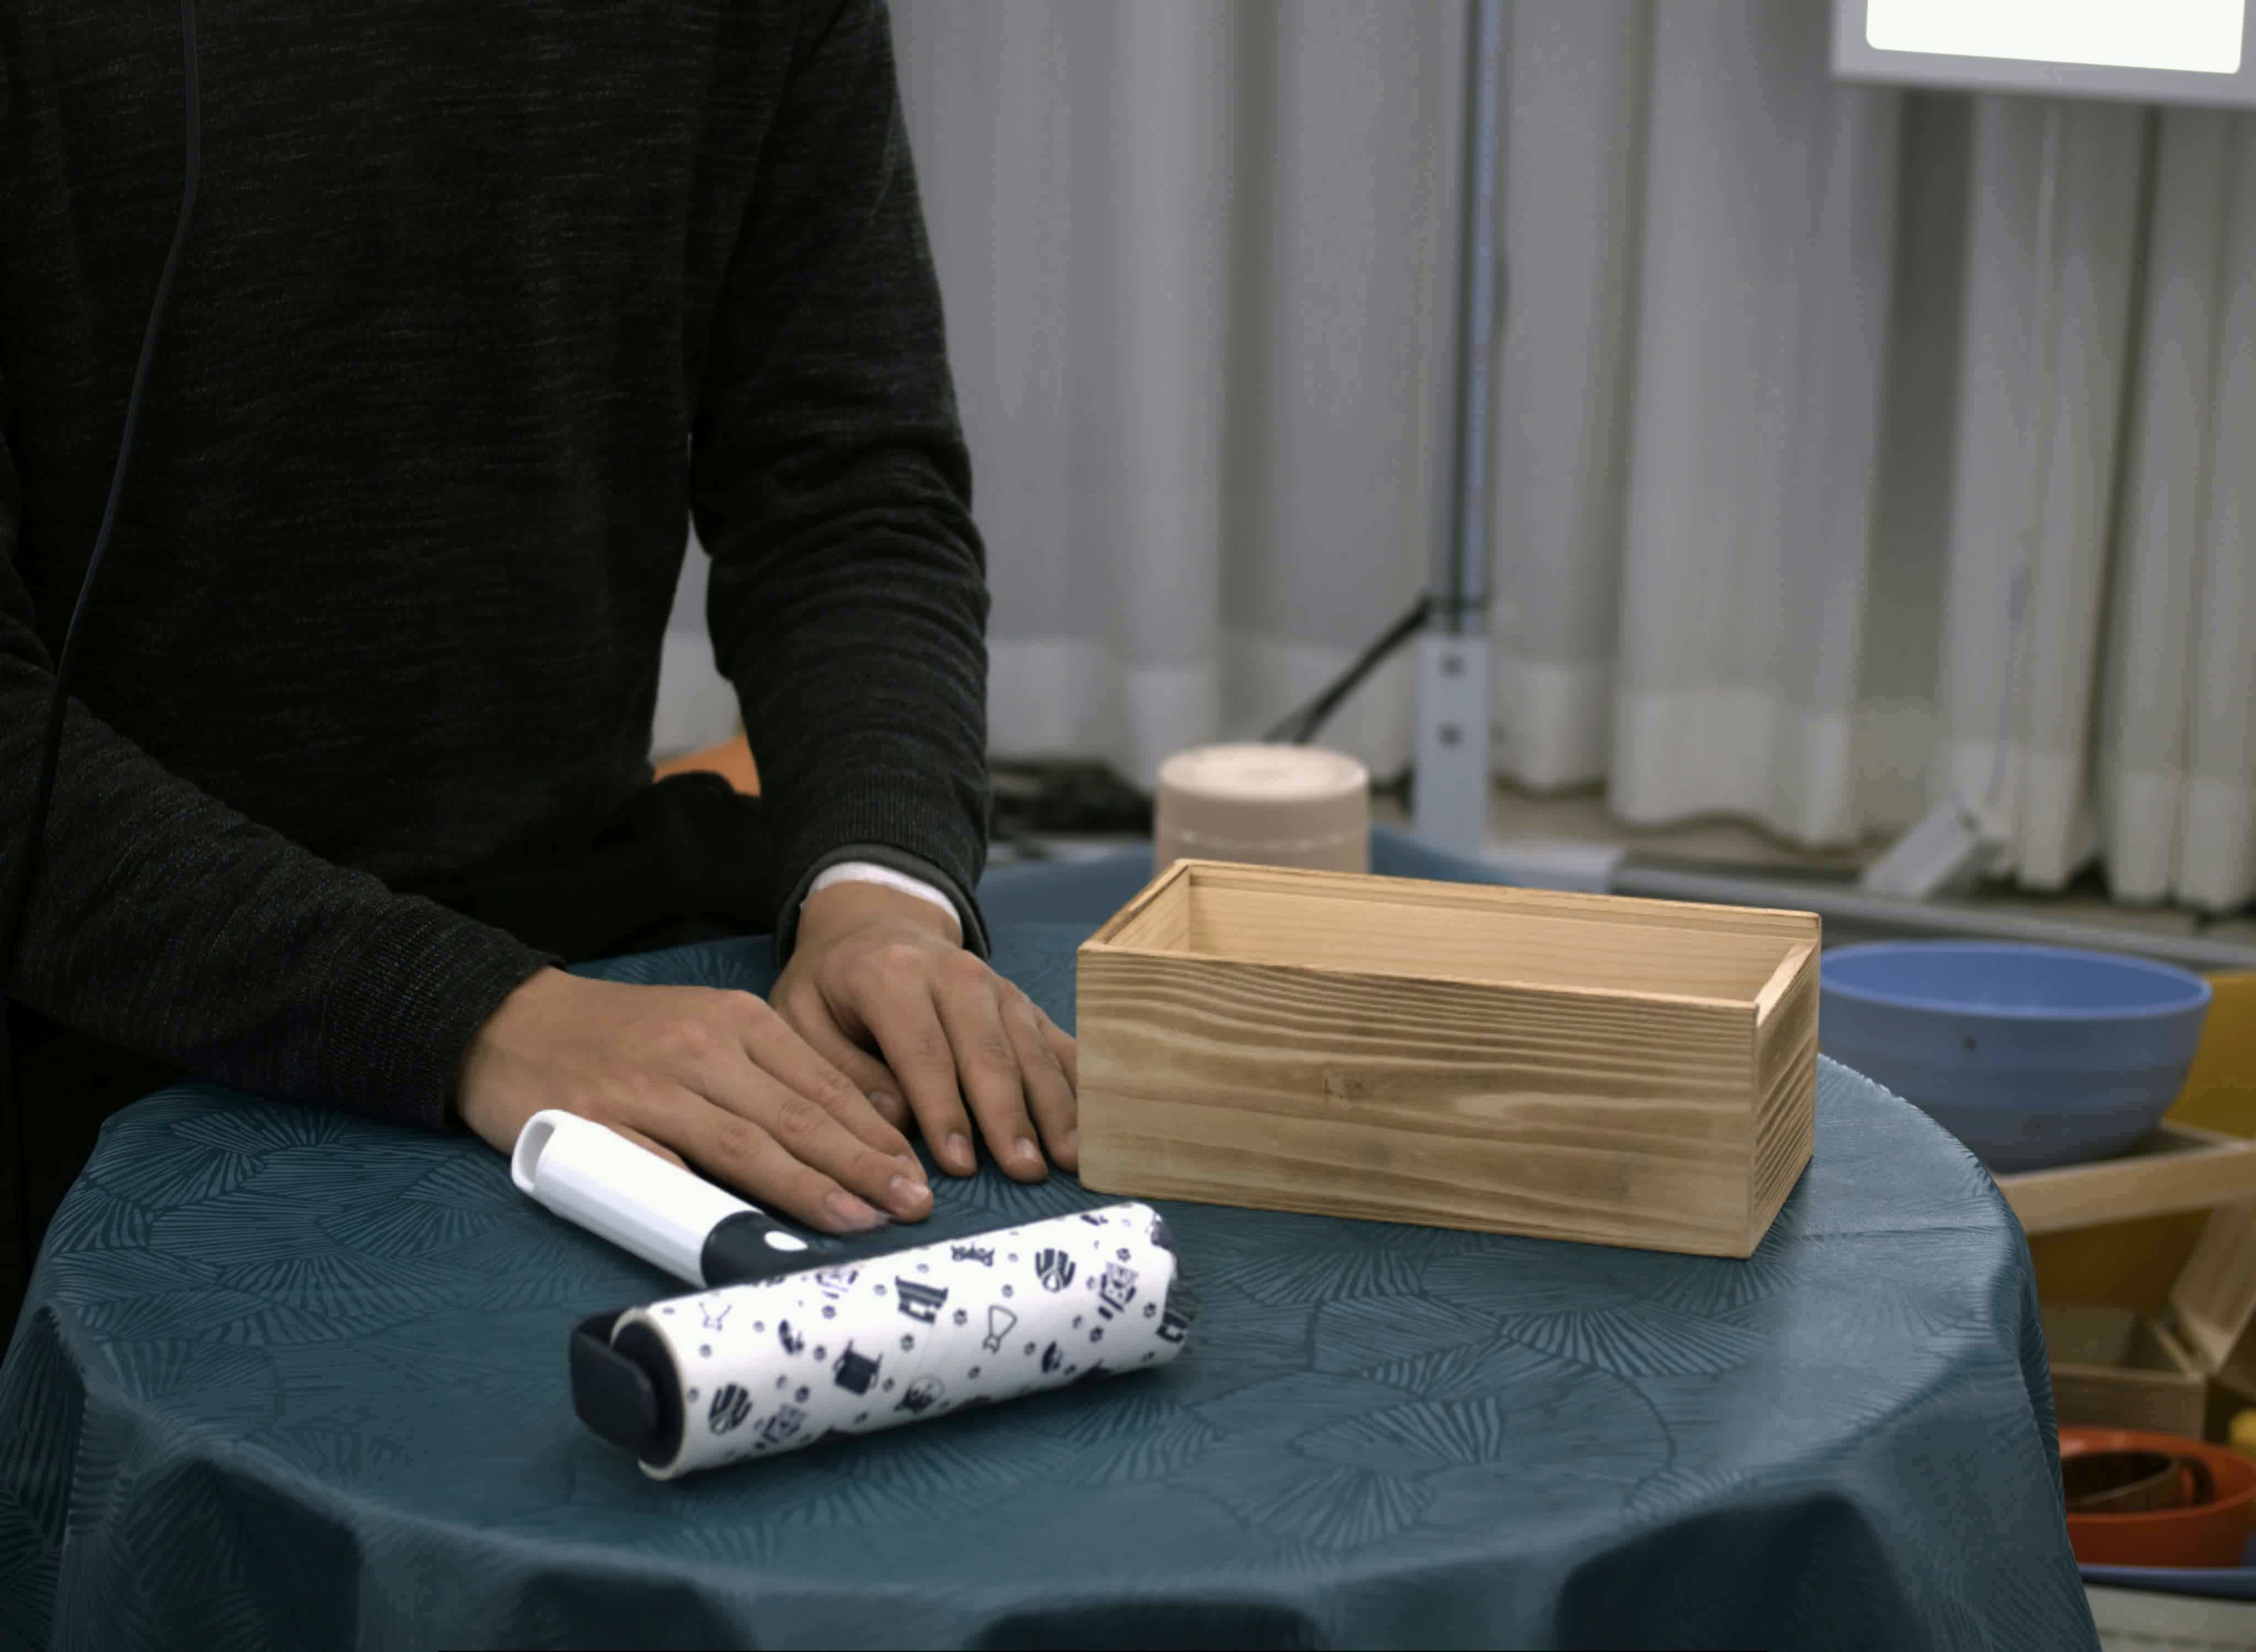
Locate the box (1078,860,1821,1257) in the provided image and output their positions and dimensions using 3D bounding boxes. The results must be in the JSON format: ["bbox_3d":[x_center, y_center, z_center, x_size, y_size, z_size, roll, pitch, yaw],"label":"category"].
[{"bbox_3d":[0.100,0.070,1.628,0.209,0.081,0.107,5,16,15],"label":"box"}]

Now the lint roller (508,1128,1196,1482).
[{"bbox_3d":[-0.118,0.119,1.511,0.177,0.051,0.244,-11,18,-32],"label":"lint roller"}]
